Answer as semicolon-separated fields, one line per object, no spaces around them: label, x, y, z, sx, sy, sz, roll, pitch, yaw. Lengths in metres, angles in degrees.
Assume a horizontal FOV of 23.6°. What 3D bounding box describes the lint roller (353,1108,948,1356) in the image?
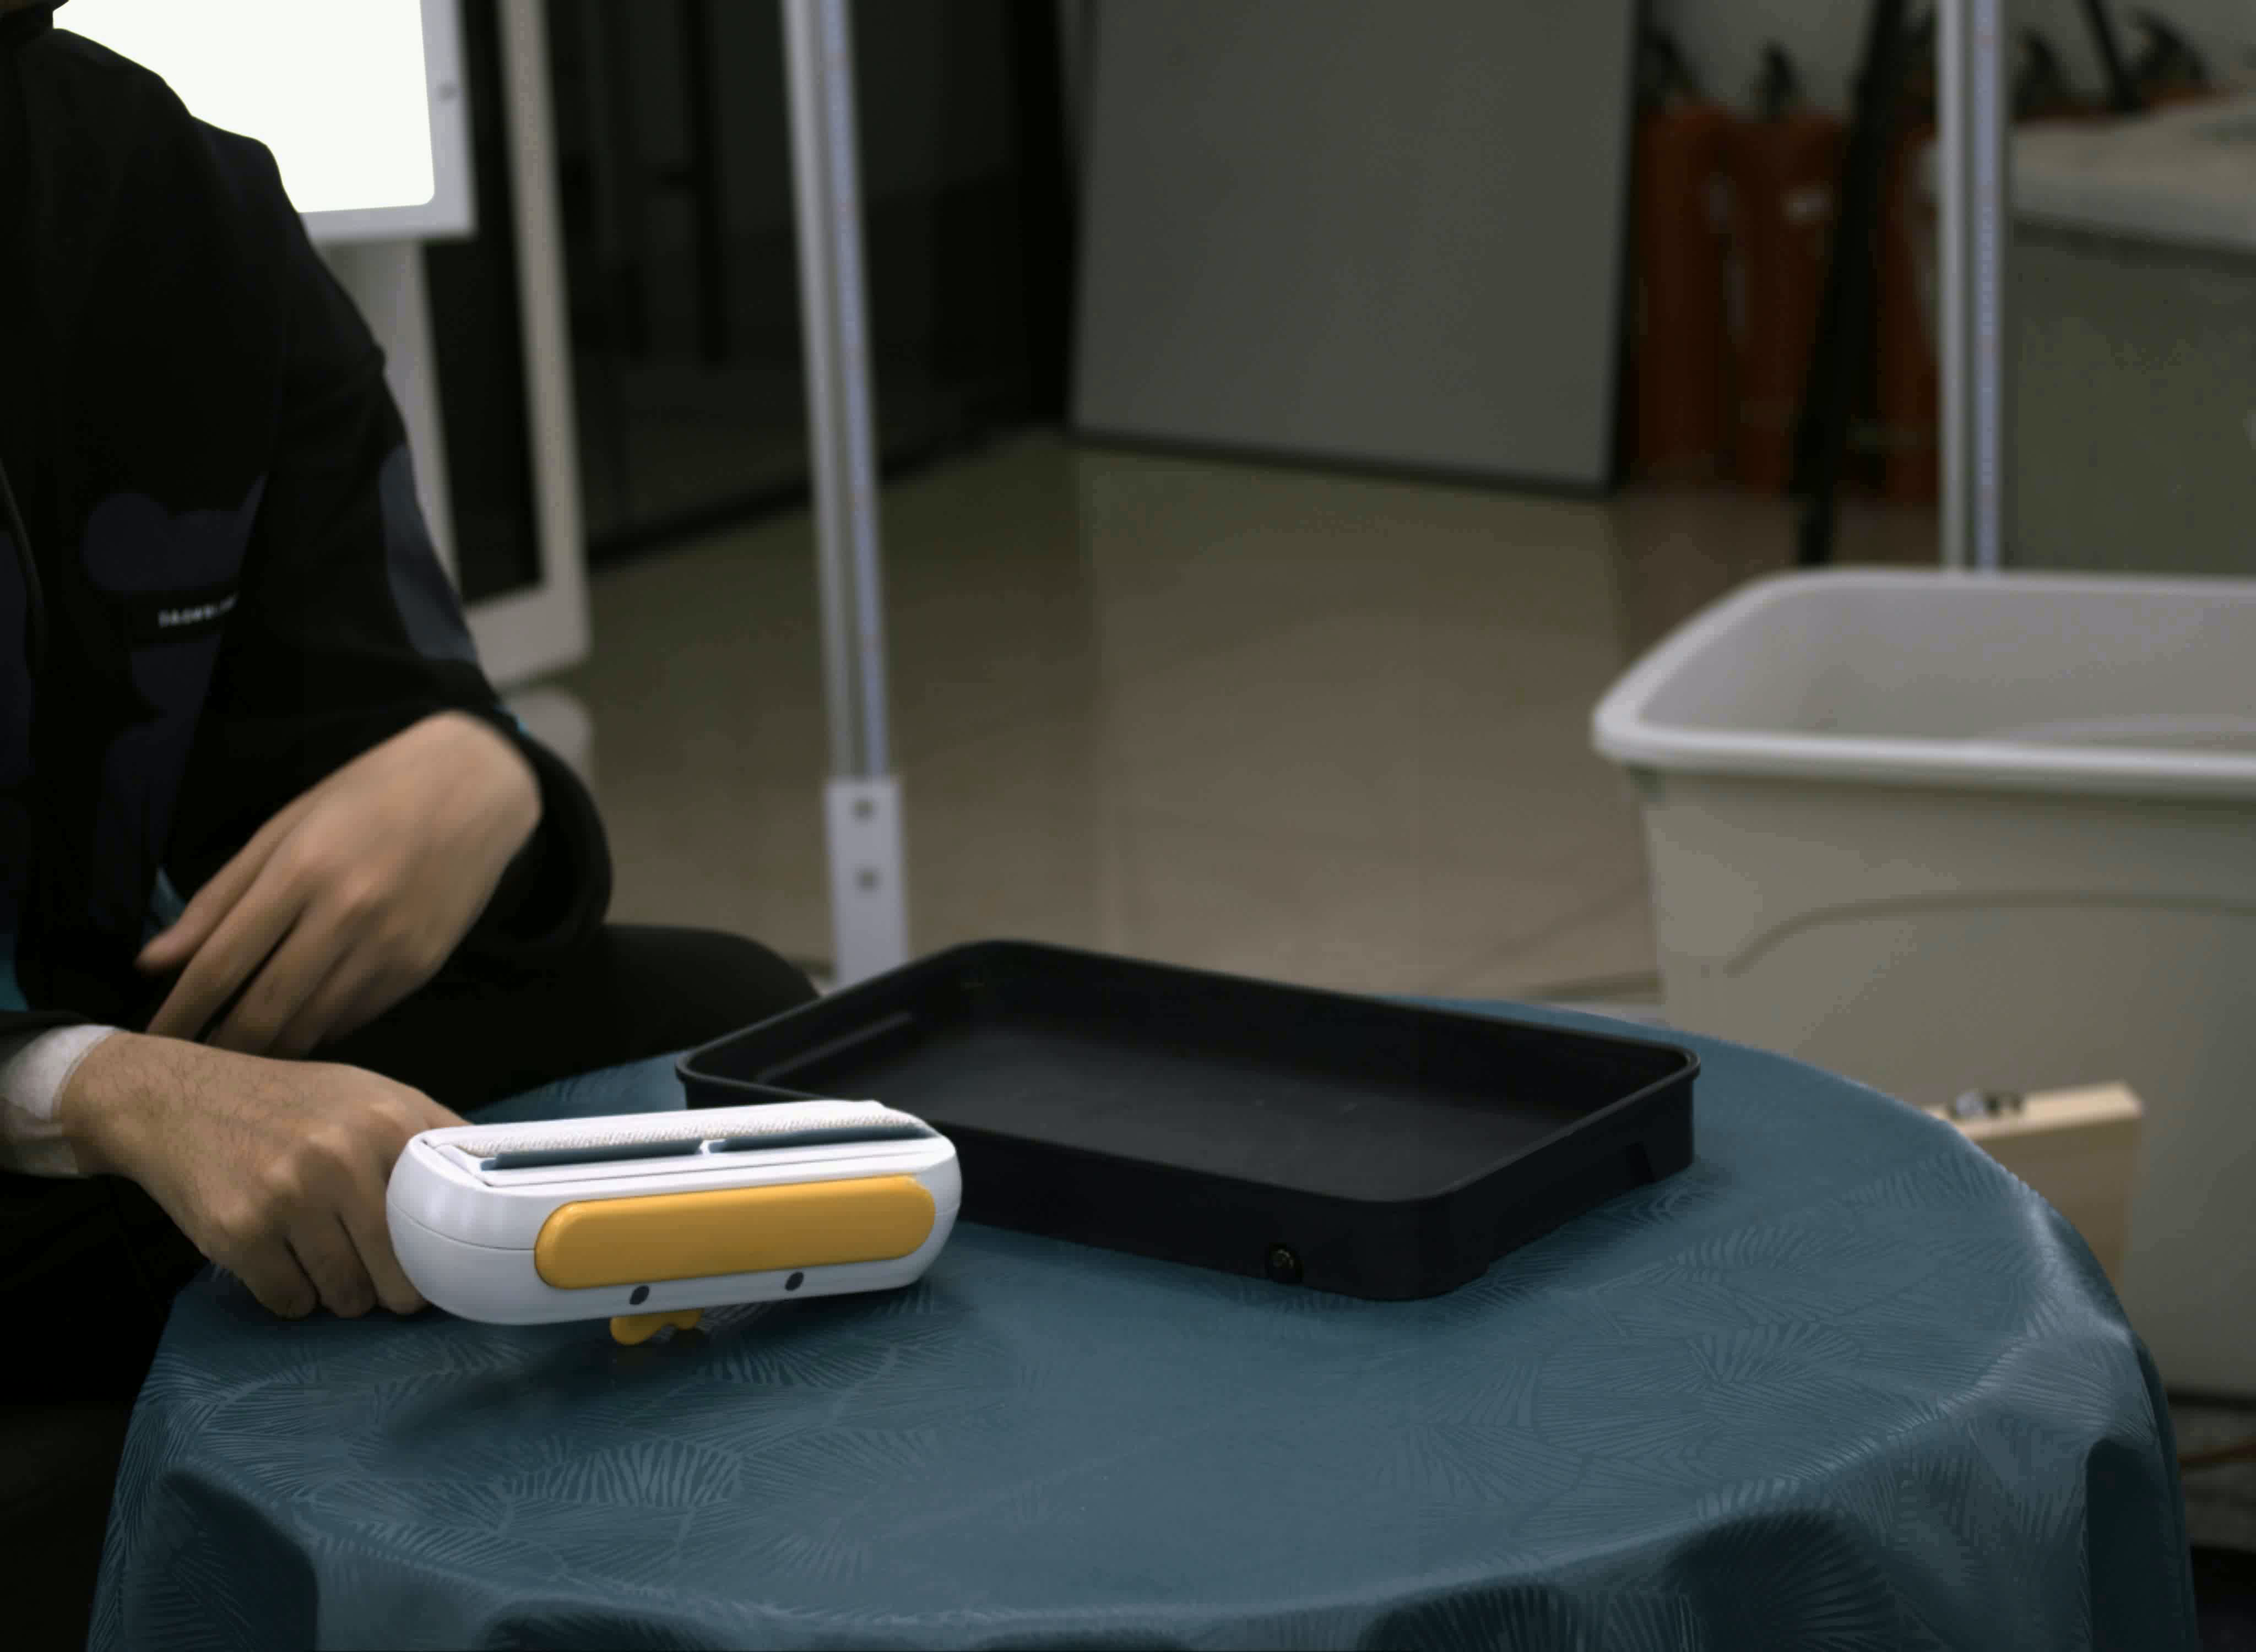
lint roller;-0.175;0.117;1.698;0.188;0.075;0.194;-6;11;-33

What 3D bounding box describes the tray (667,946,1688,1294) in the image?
tray;0.015;0.094;1.802;0.320;0.037;0.181;7;18;37
